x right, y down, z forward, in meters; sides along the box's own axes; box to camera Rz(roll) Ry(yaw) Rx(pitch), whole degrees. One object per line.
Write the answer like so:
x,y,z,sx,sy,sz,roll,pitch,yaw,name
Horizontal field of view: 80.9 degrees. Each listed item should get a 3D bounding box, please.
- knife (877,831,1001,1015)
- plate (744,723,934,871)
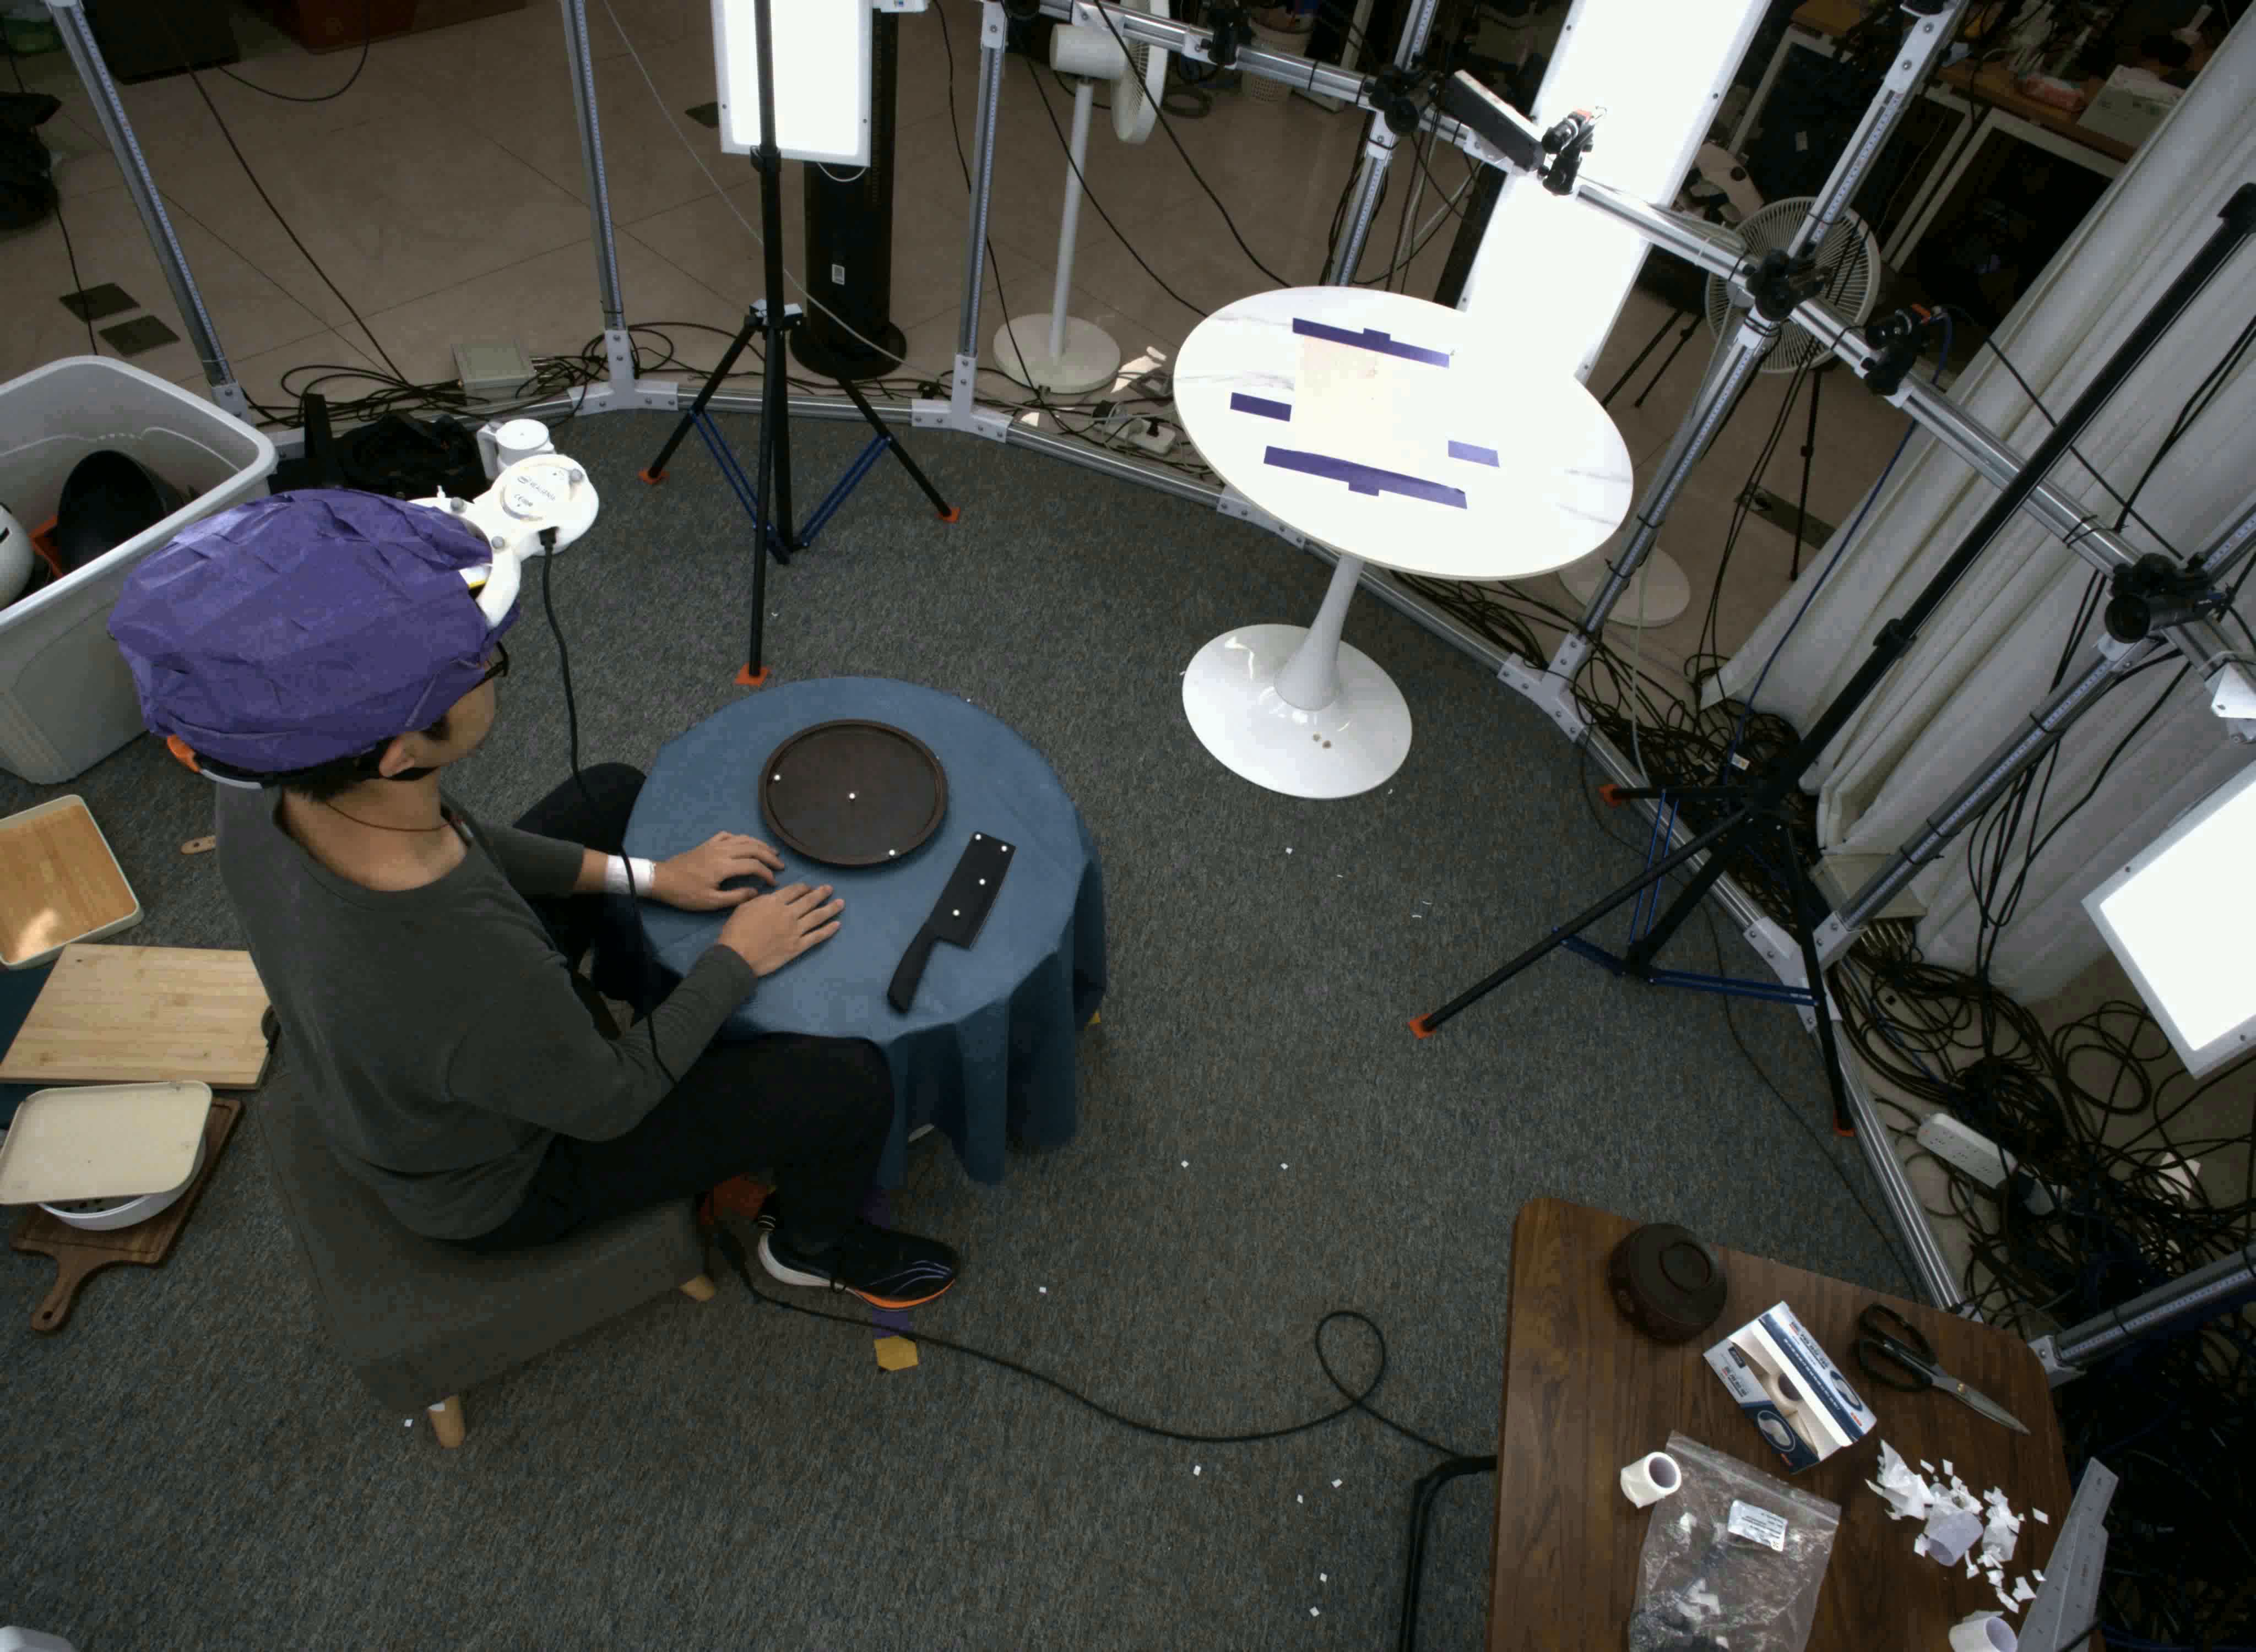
-0.244,0.120,1.684,0.080,0.021,0.300,25,50,3,knife
-0.391,-0.042,1.760,0.254,0.029,0.250,8,53,-10,plate
